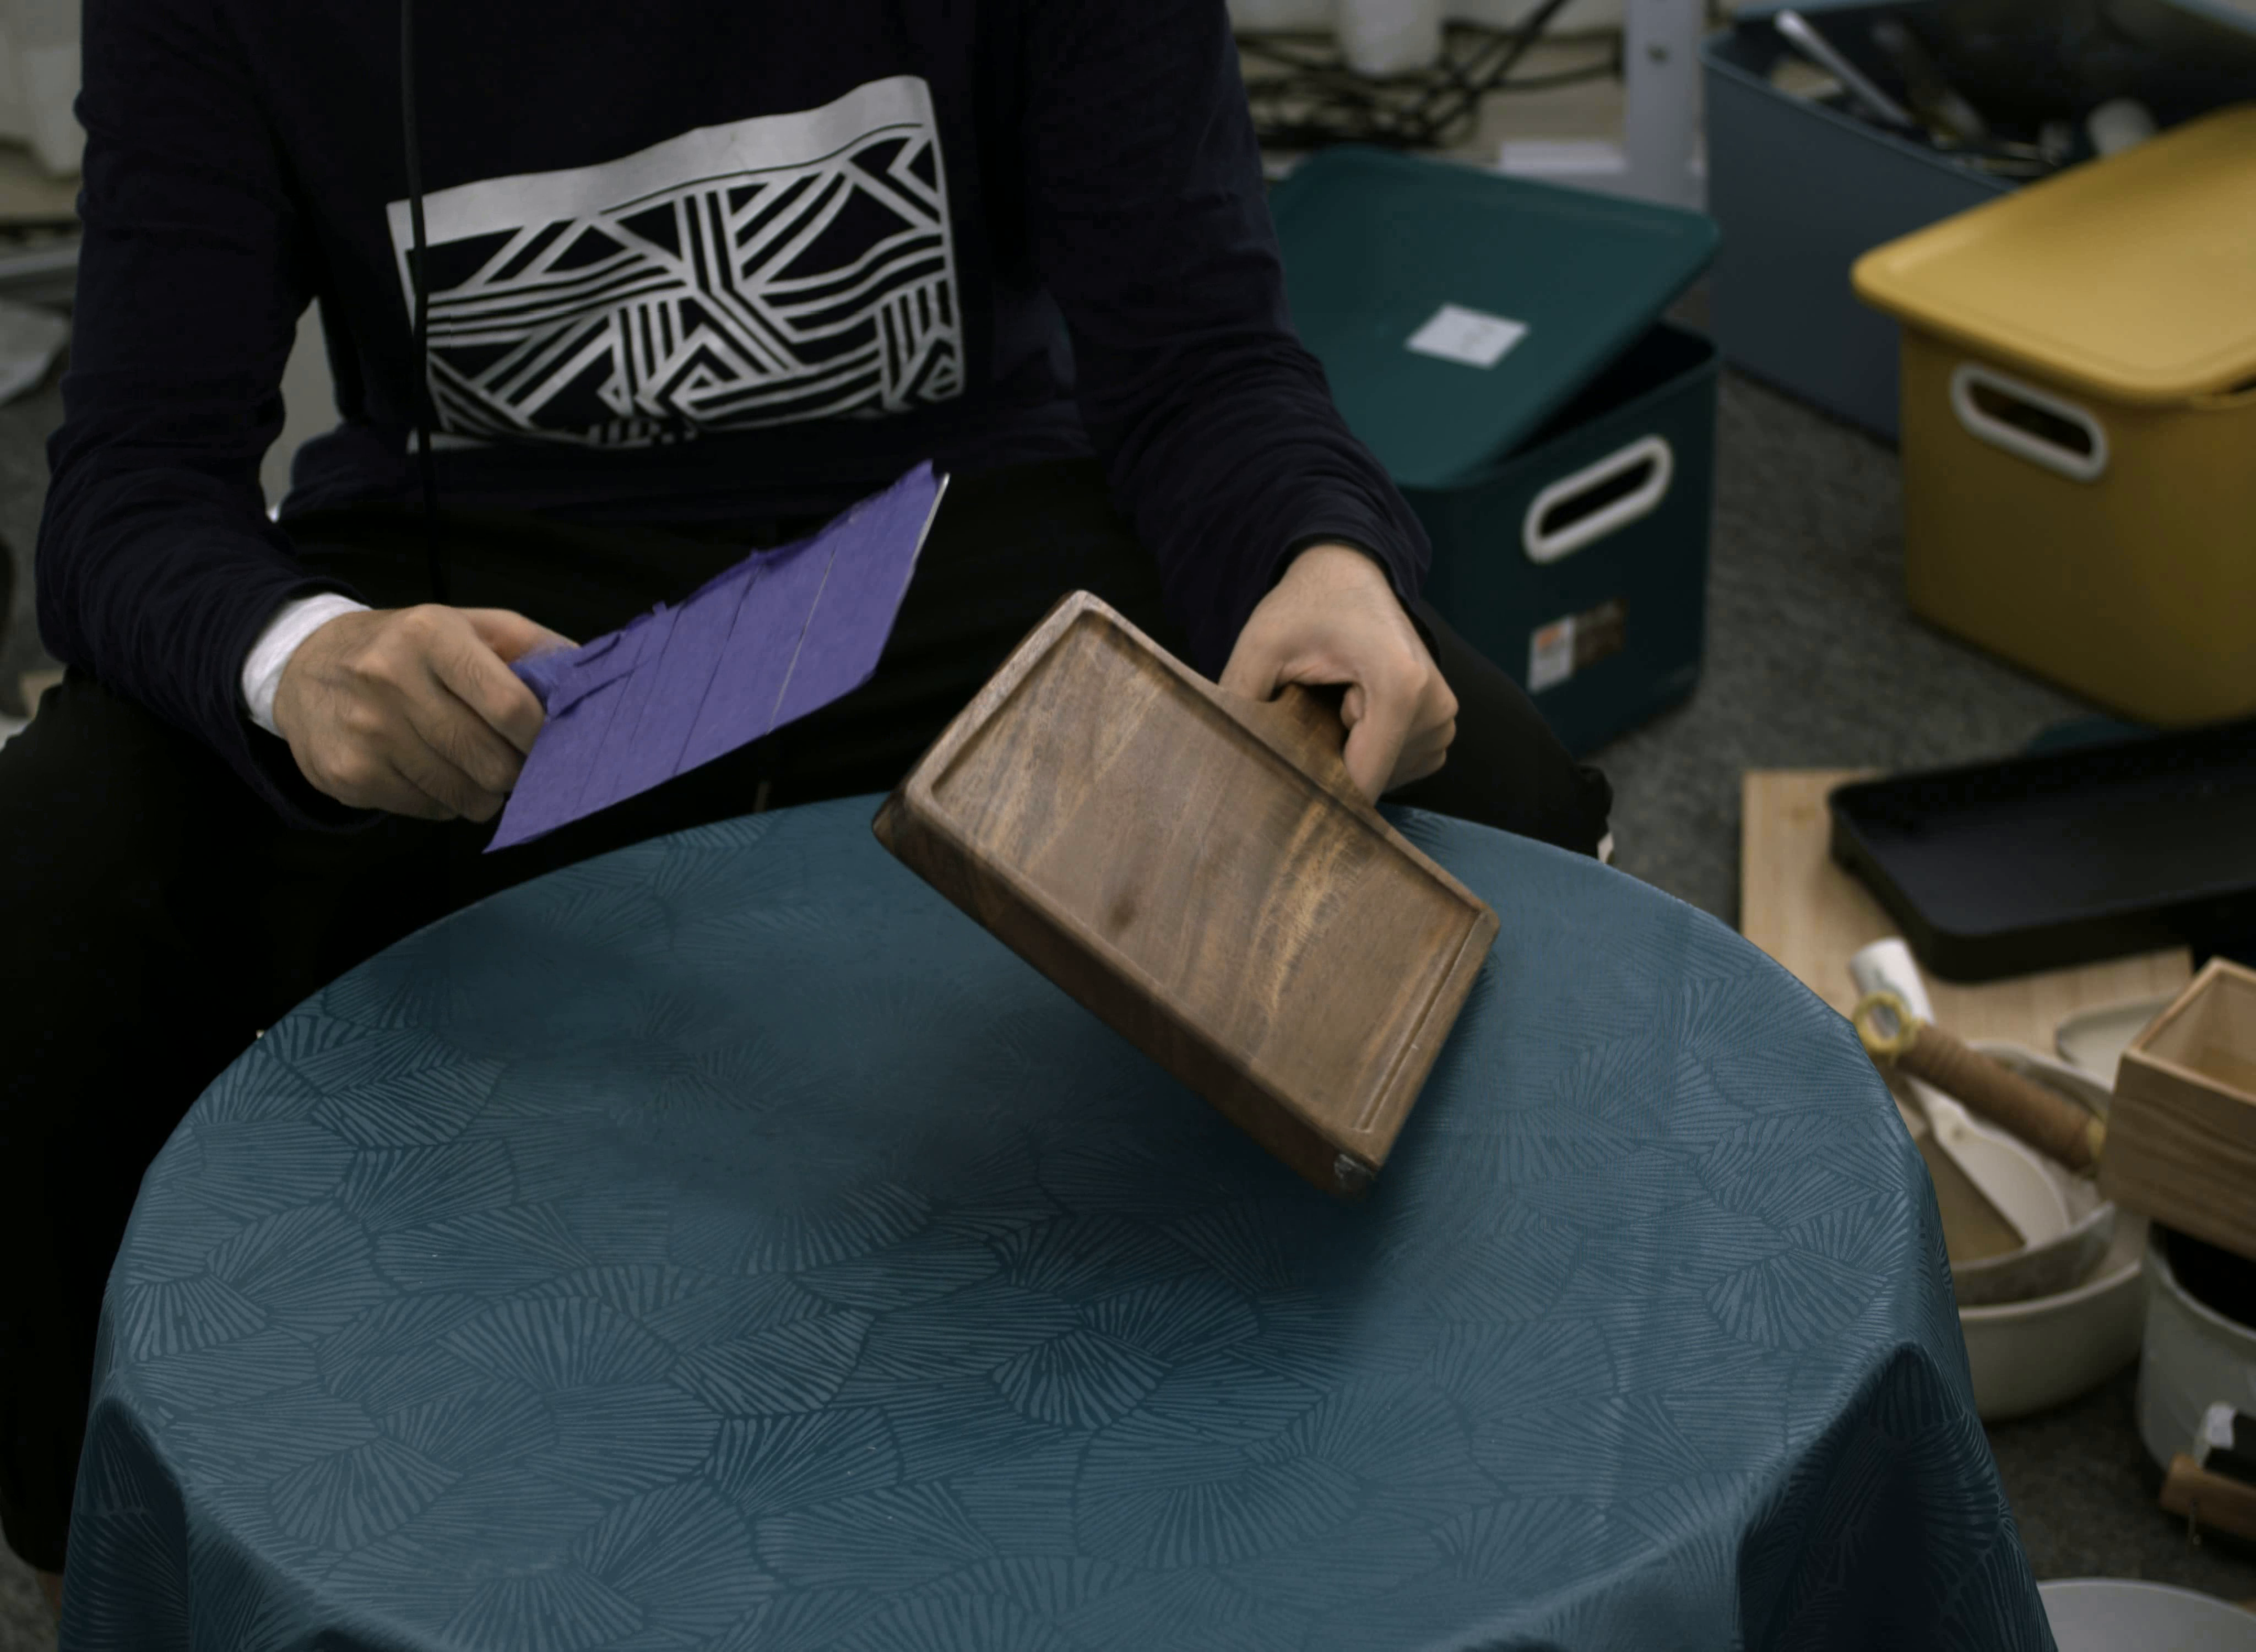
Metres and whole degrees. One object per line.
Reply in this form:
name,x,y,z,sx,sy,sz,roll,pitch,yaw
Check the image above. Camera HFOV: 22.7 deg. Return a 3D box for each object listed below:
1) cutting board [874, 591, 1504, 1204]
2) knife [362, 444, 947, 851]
cutting board,0.037,0.003,1.929,0.201,0.023,0.356,37,22,0
knife,-0.173,-0.041,1.878,0.310,0.032,0.106,-25,33,46
